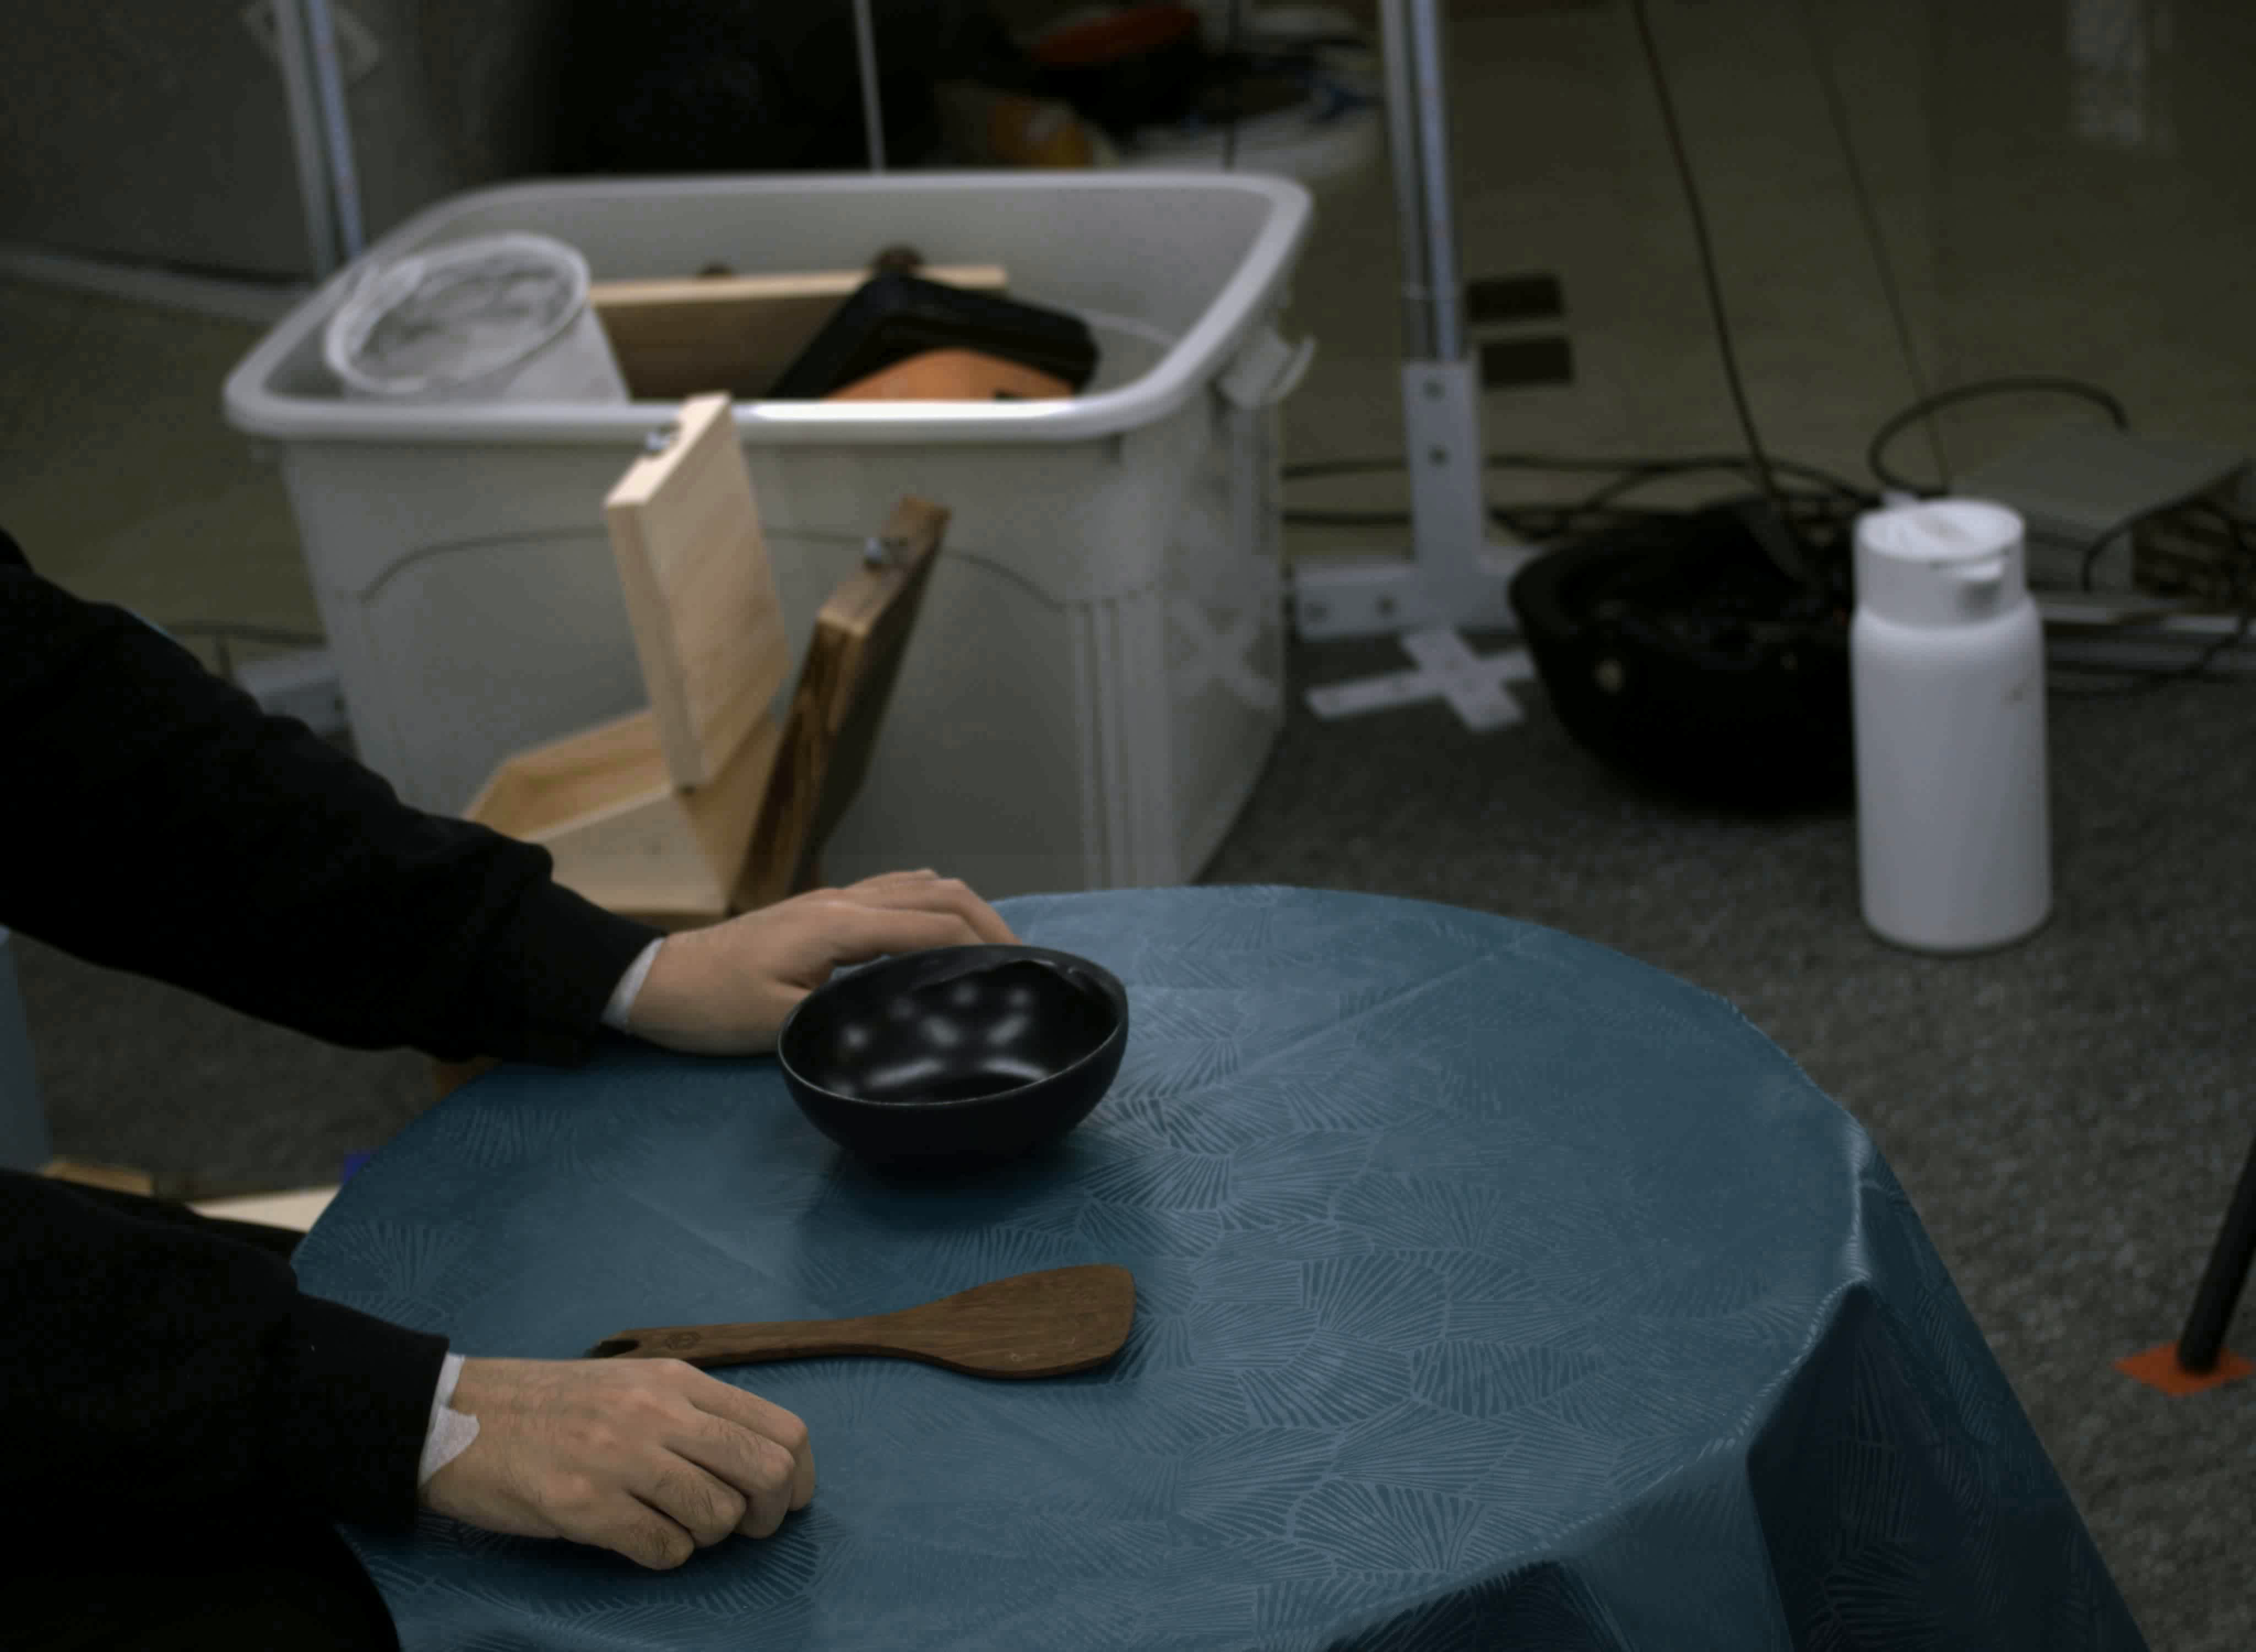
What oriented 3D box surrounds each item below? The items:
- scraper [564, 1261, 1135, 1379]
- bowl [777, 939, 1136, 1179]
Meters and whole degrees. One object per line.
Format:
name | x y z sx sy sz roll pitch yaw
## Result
scraper | -0.102 0.186 2.067 0.211 0.011 0.075 -5 24 5
bowl | -0.064 0.098 2.200 0.140 0.050 0.138 -6 28 3
